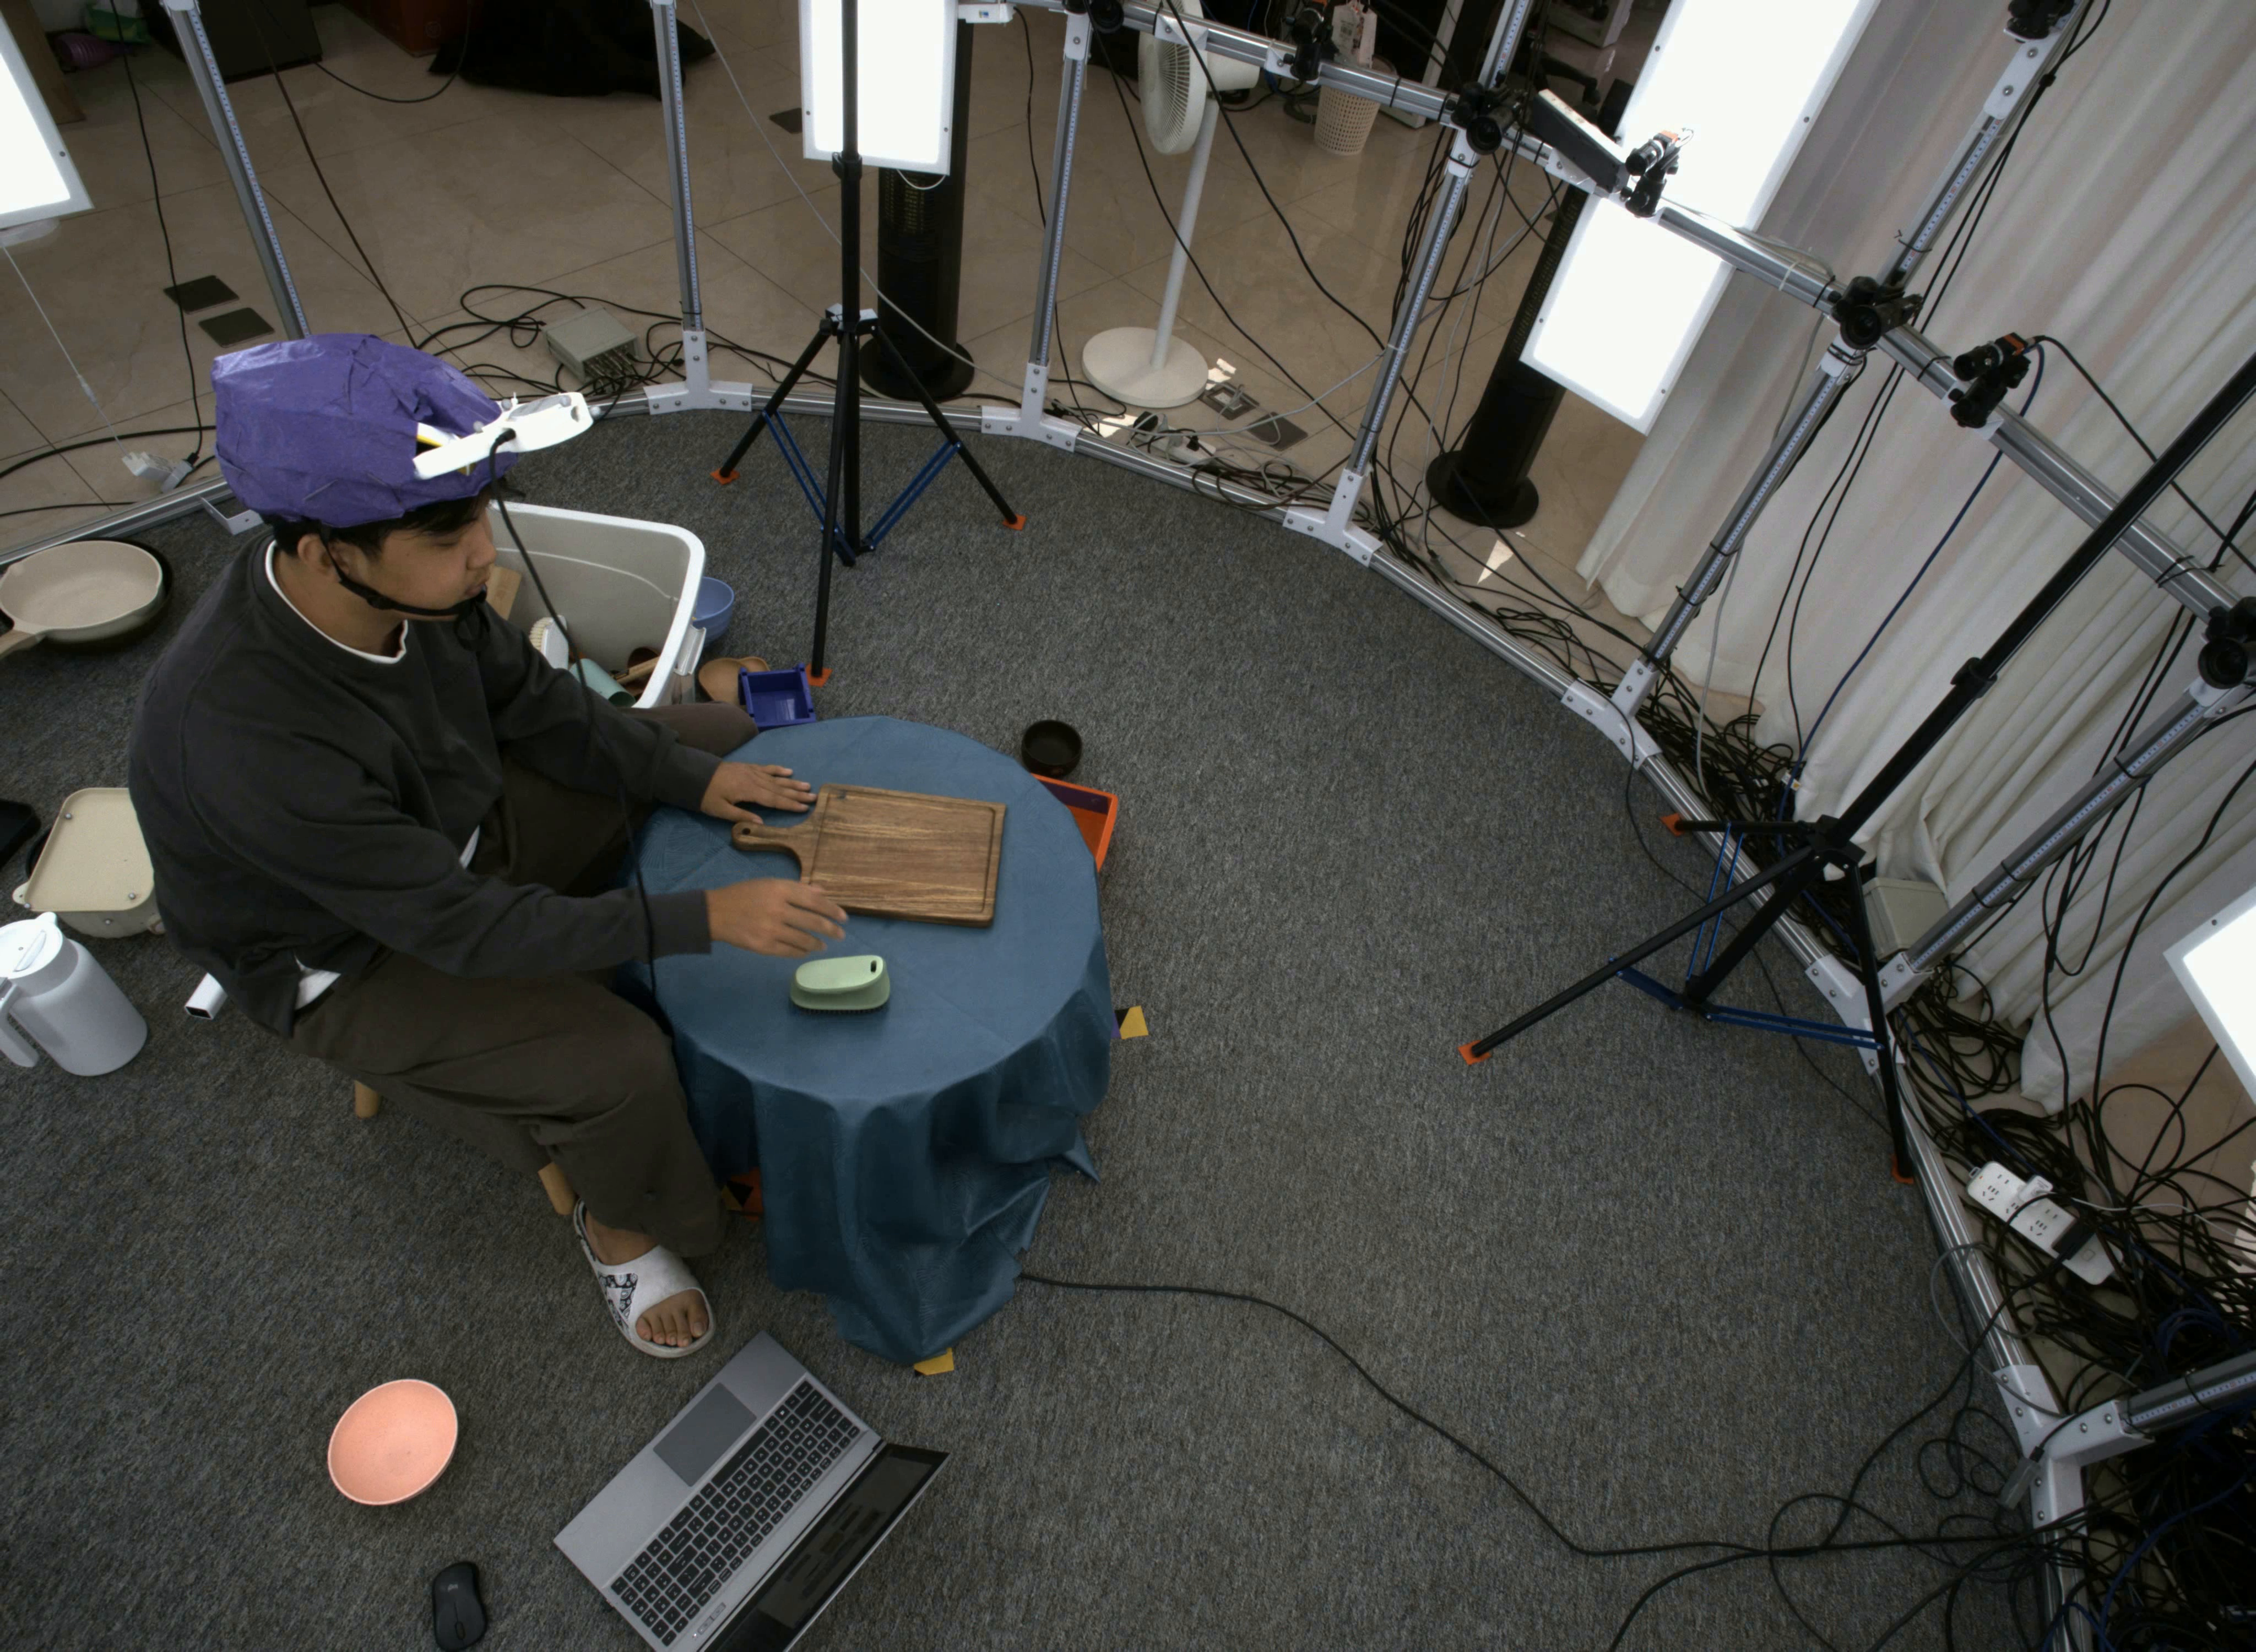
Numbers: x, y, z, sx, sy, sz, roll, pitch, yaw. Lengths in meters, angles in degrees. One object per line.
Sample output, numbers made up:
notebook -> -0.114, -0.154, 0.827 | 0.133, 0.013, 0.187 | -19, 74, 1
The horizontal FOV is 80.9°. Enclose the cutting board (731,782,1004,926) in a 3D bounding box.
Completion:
cutting board -> -0.343, 0.028, 1.706 | 0.351, 0.023, 0.197 | 7, 52, -8

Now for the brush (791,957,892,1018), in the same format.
brush -> -0.343, 0.193, 1.562 | 0.122, 0.078, 0.058 | -8, 53, -2
